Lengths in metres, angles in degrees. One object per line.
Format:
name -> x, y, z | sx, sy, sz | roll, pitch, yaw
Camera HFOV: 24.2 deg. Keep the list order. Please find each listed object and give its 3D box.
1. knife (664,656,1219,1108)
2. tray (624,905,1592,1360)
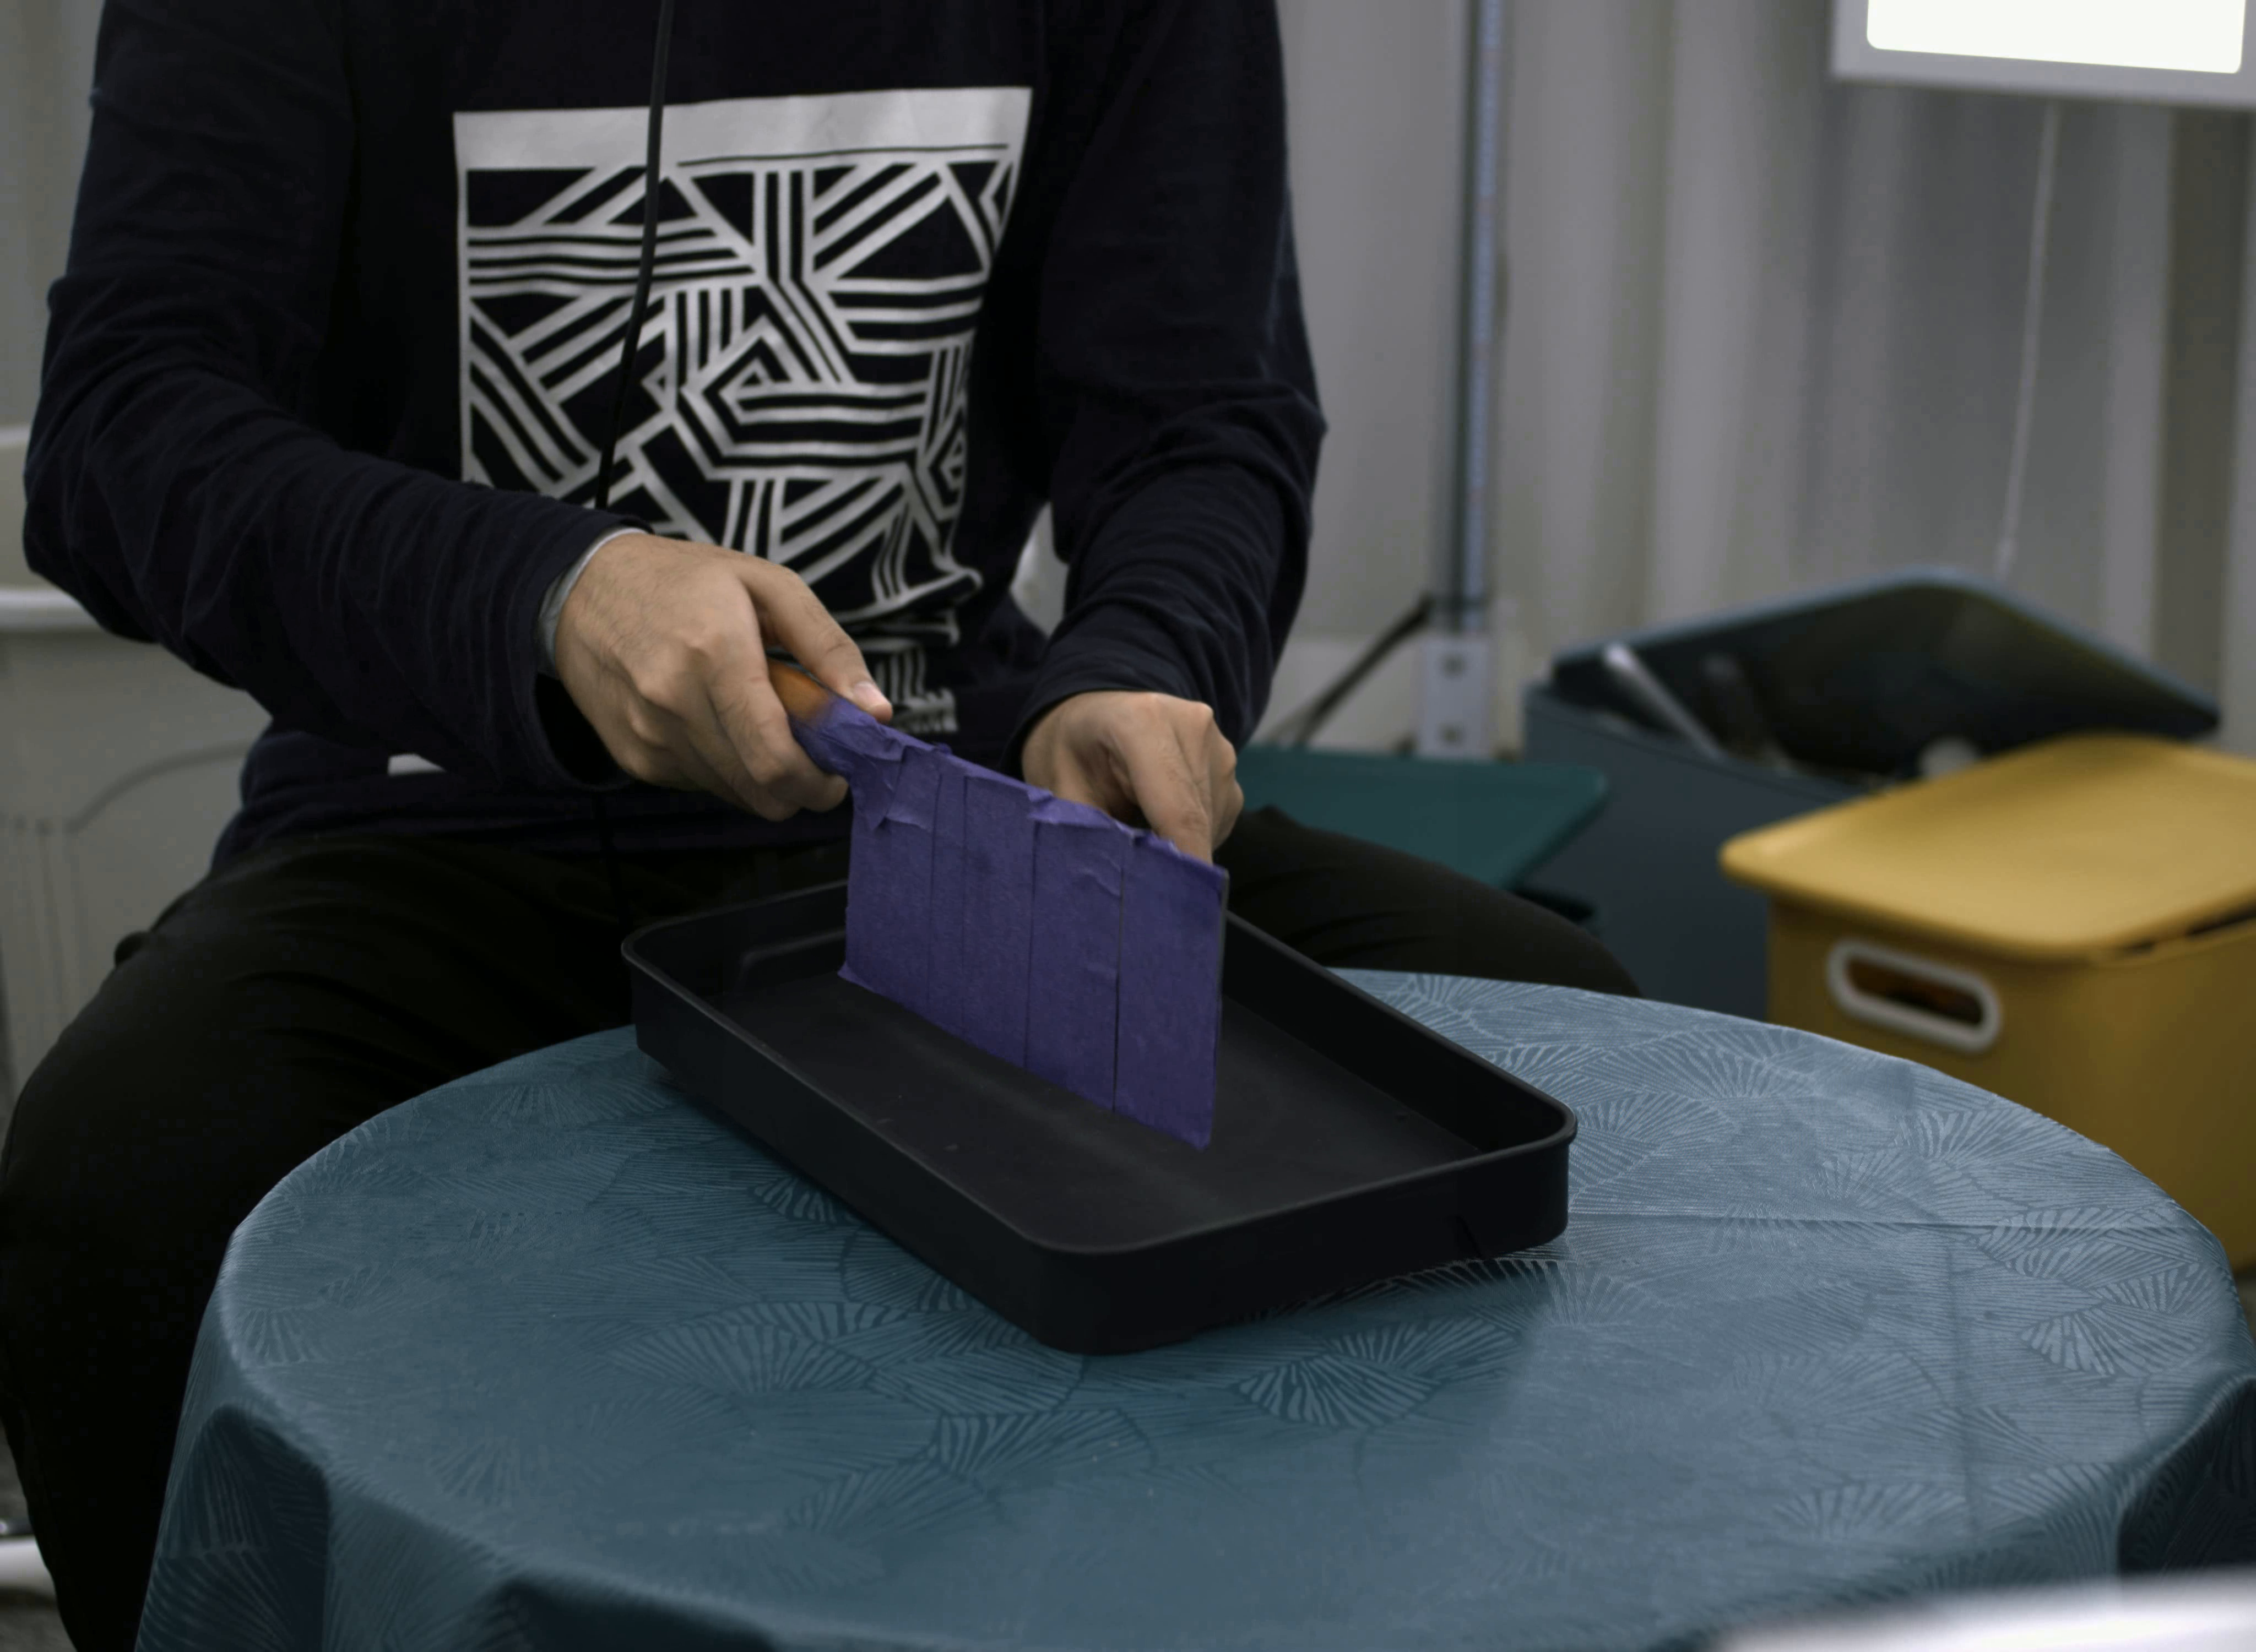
knife -> -0.065, 0.017, 1.678 | 0.032, 0.104, 0.311 | -4, 15, -33
tray -> -0.013, 0.080, 1.638 | 0.185, 0.037, 0.314 | -13, 21, -29
